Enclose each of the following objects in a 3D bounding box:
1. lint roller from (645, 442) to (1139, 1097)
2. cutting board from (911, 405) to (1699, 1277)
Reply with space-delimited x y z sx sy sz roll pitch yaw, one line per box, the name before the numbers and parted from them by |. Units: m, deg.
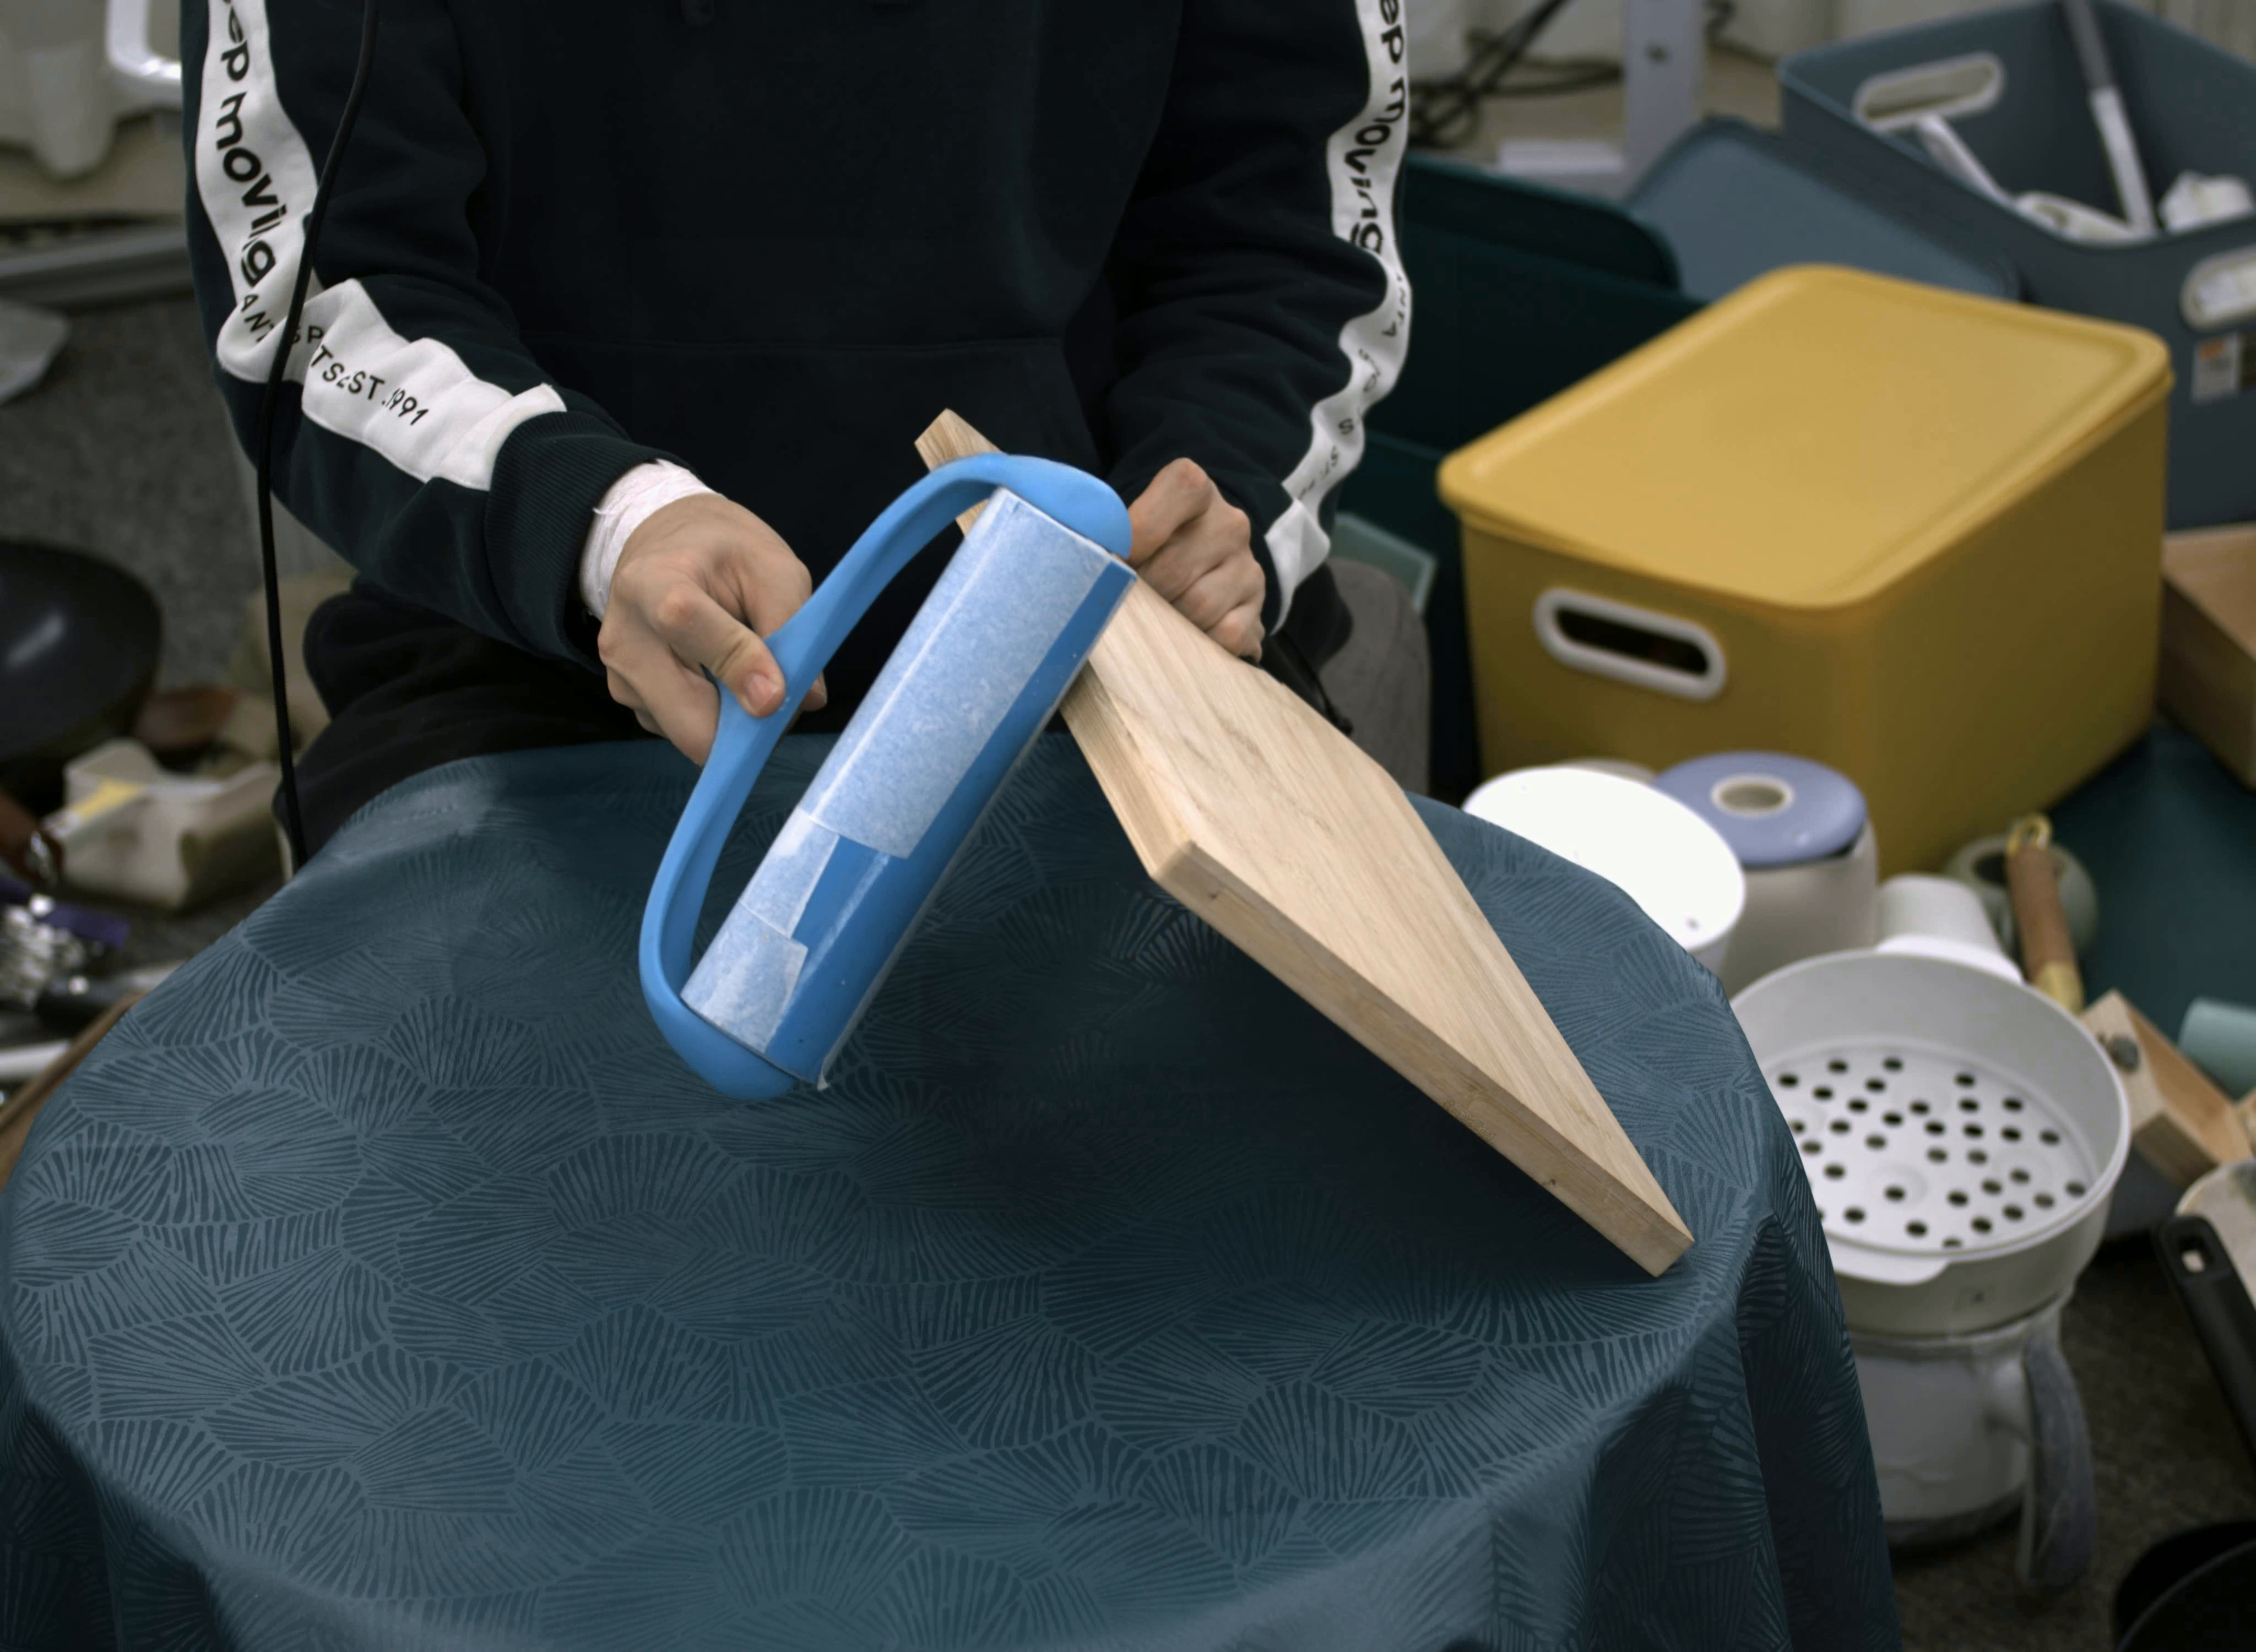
lint roller | -0.102 -0.034 1.830 0.067 0.230 0.180 31 -2 -39
cutting board | 0.052 -0.002 1.891 0.023 0.249 0.352 -46 29 10
